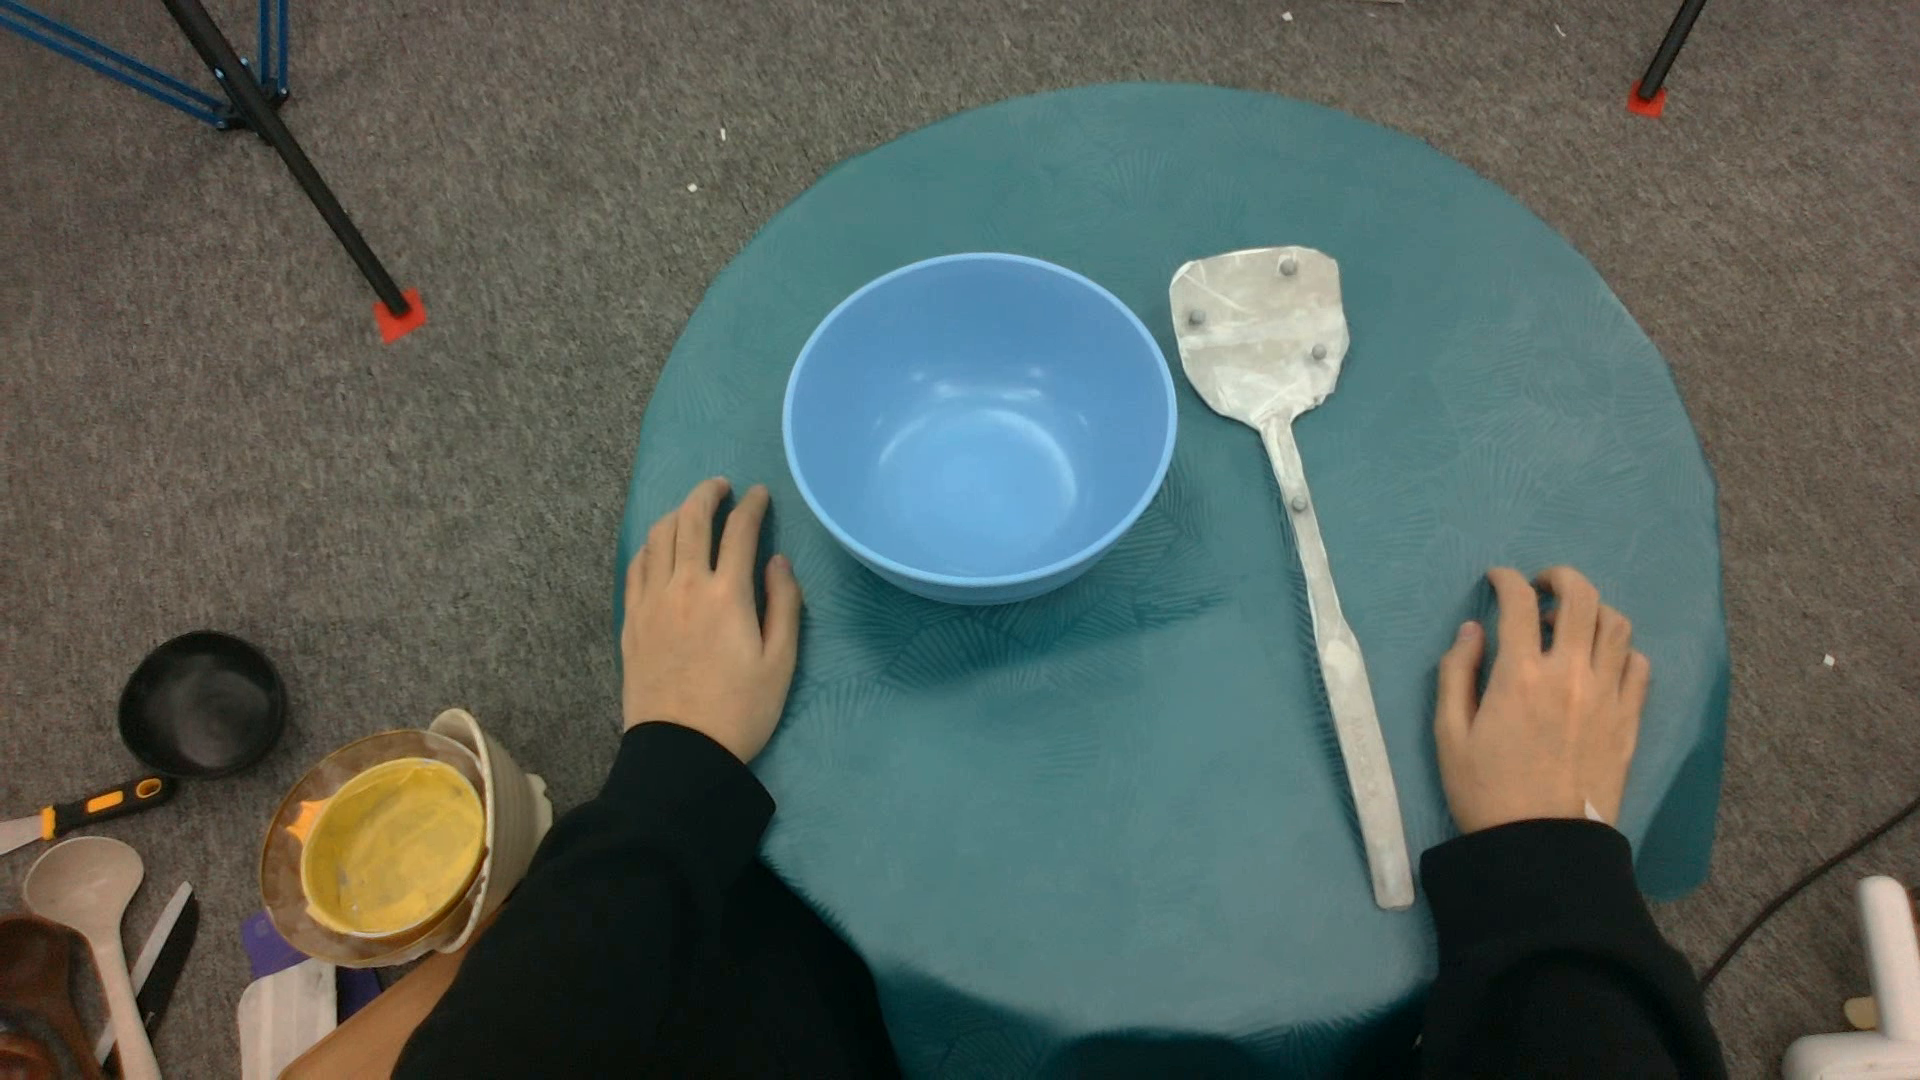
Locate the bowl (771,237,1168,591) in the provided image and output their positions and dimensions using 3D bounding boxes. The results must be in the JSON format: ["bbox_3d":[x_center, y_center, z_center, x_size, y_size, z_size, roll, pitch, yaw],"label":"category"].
[{"bbox_3d":[0.005,-0.052,0.722,0.196,0.095,0.197,0,62,0],"label":"bowl"}]

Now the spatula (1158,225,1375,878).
[{"bbox_3d":[0.176,-0.009,0.726,0.099,0.044,0.366,-5,63,-2],"label":"spatula"}]
